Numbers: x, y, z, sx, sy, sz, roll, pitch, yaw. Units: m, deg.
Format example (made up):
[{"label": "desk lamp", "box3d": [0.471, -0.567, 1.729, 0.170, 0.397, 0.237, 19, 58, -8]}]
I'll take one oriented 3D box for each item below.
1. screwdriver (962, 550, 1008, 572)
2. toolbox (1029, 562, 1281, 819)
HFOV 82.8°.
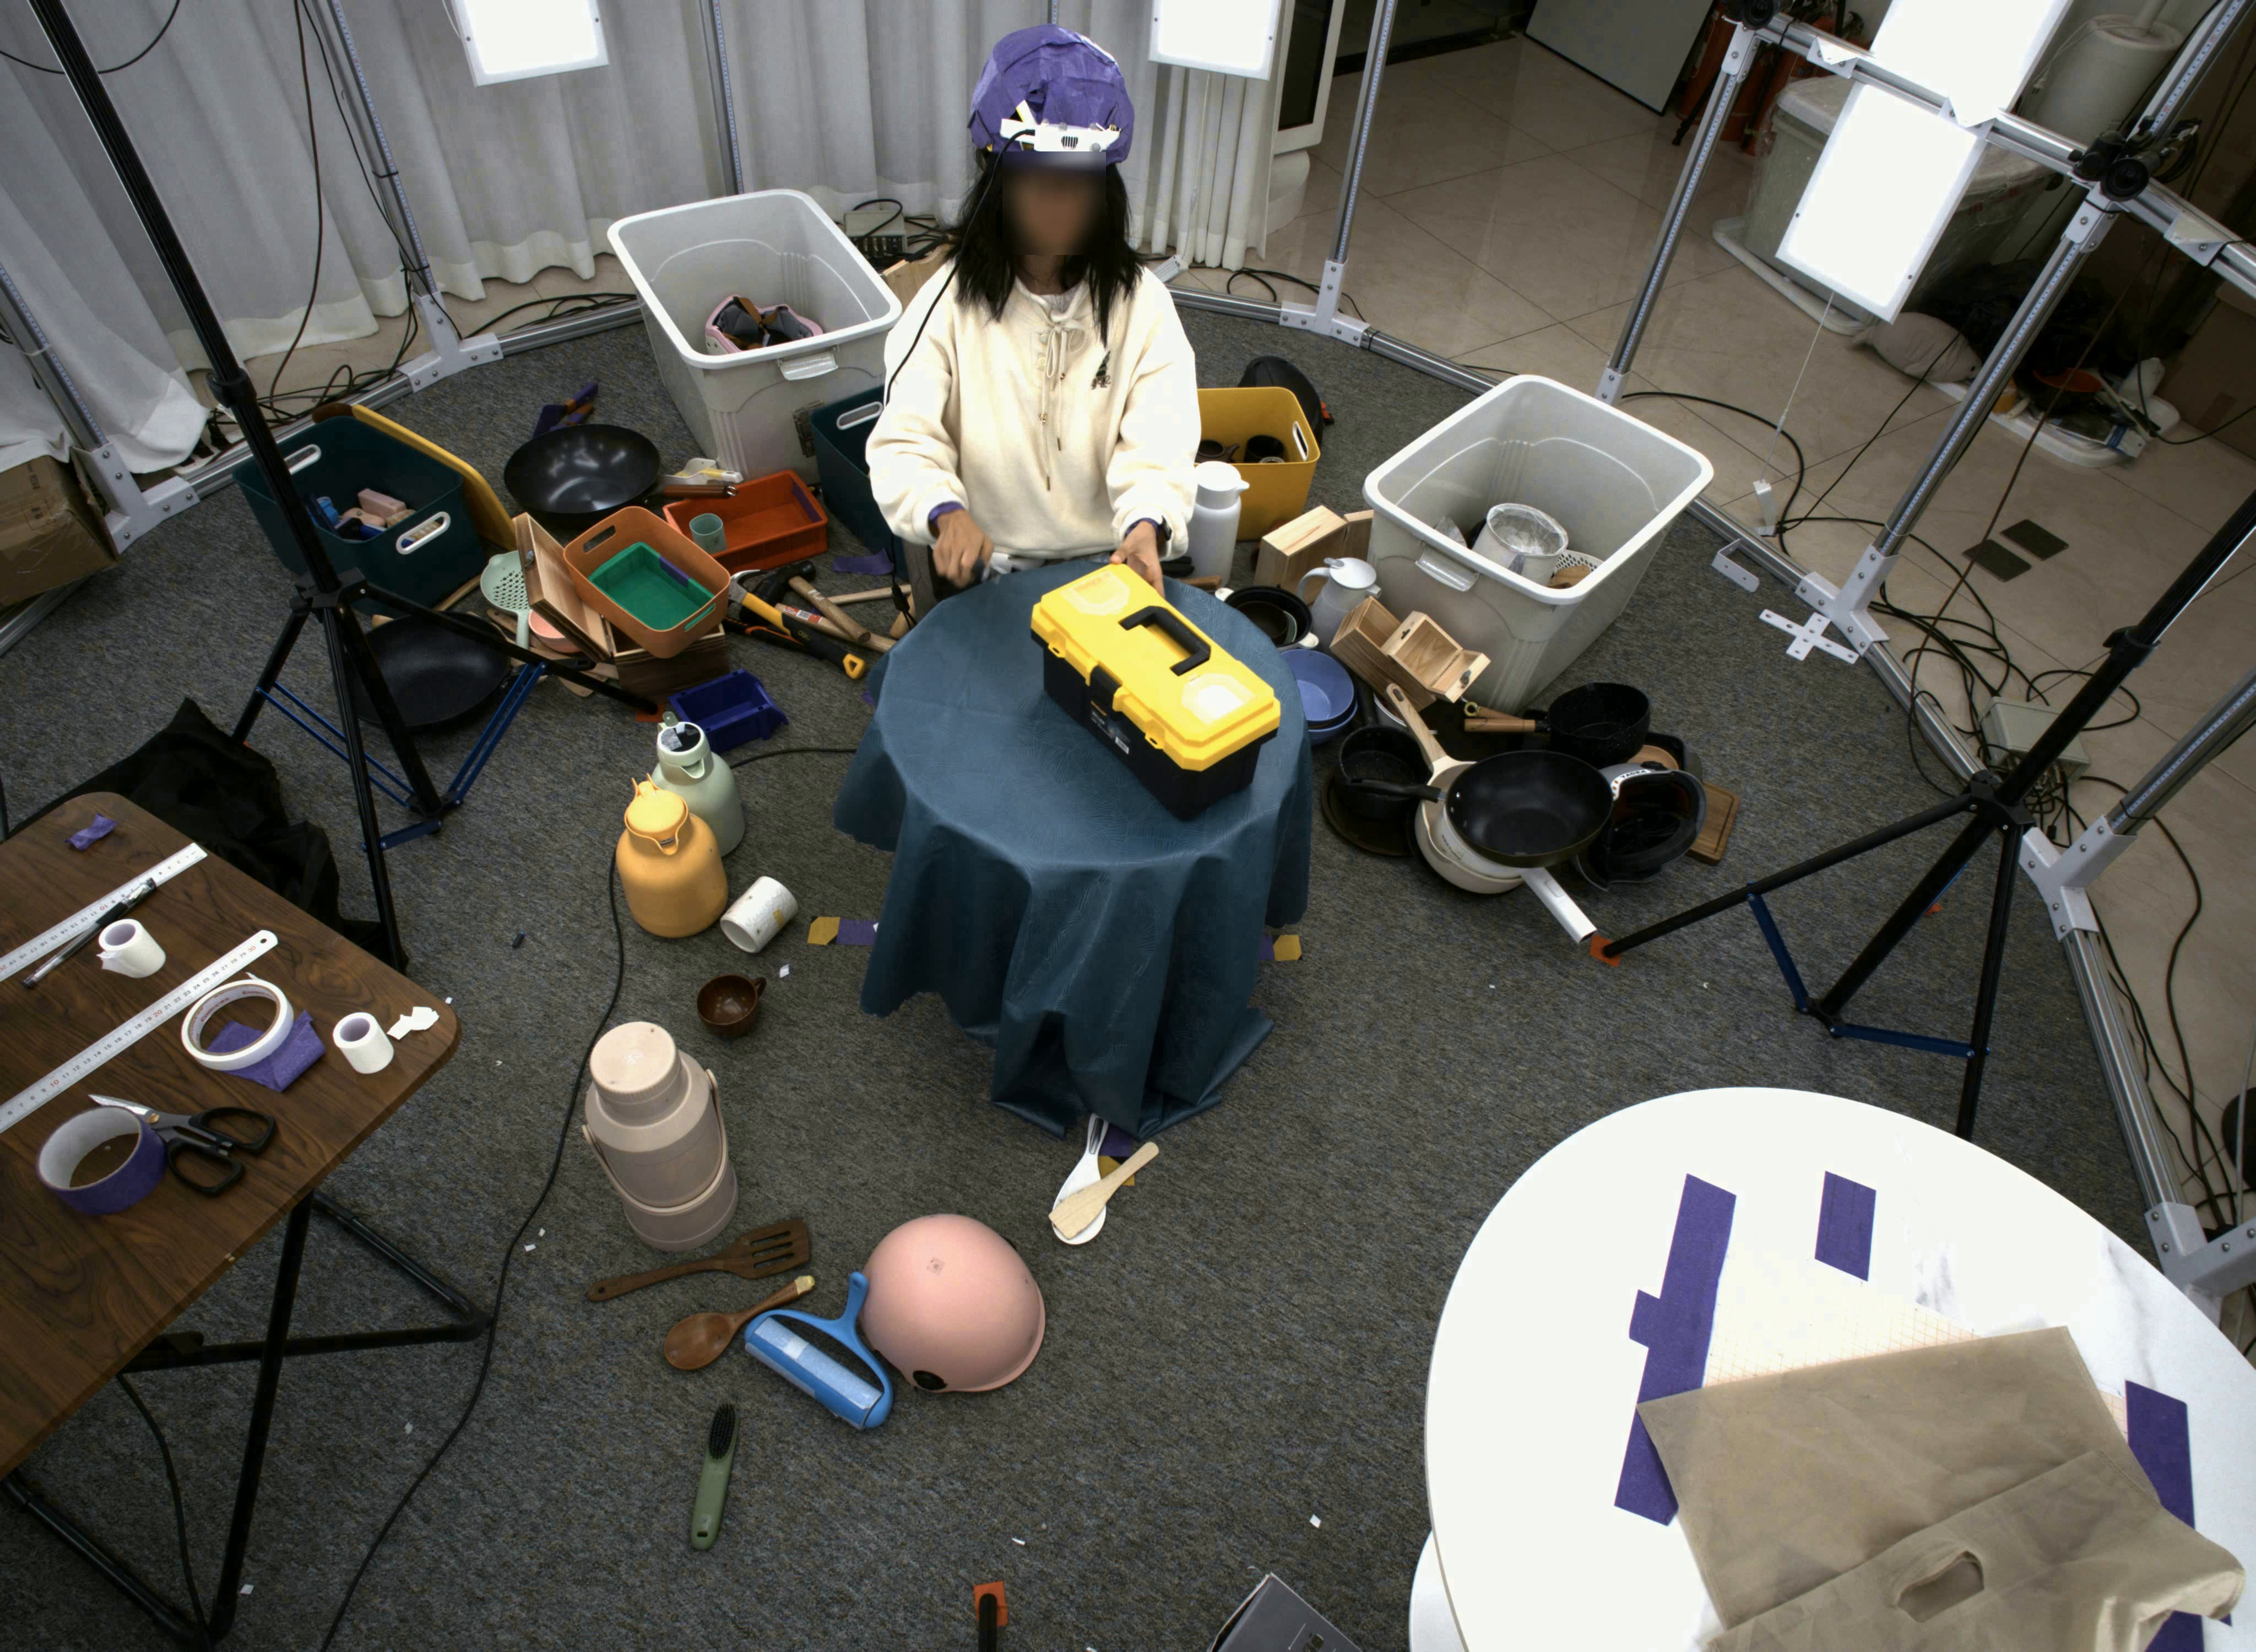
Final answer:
[{"label": "screwdriver", "box3d": [-0.195, -0.360, 1.752, 0.031, 0.031, 0.198, -14, 15, -16]}, {"label": "toolbox", "box3d": [0.028, -0.182, 1.718, 0.182, 0.168, 0.358, -29, 57, -26]}]
